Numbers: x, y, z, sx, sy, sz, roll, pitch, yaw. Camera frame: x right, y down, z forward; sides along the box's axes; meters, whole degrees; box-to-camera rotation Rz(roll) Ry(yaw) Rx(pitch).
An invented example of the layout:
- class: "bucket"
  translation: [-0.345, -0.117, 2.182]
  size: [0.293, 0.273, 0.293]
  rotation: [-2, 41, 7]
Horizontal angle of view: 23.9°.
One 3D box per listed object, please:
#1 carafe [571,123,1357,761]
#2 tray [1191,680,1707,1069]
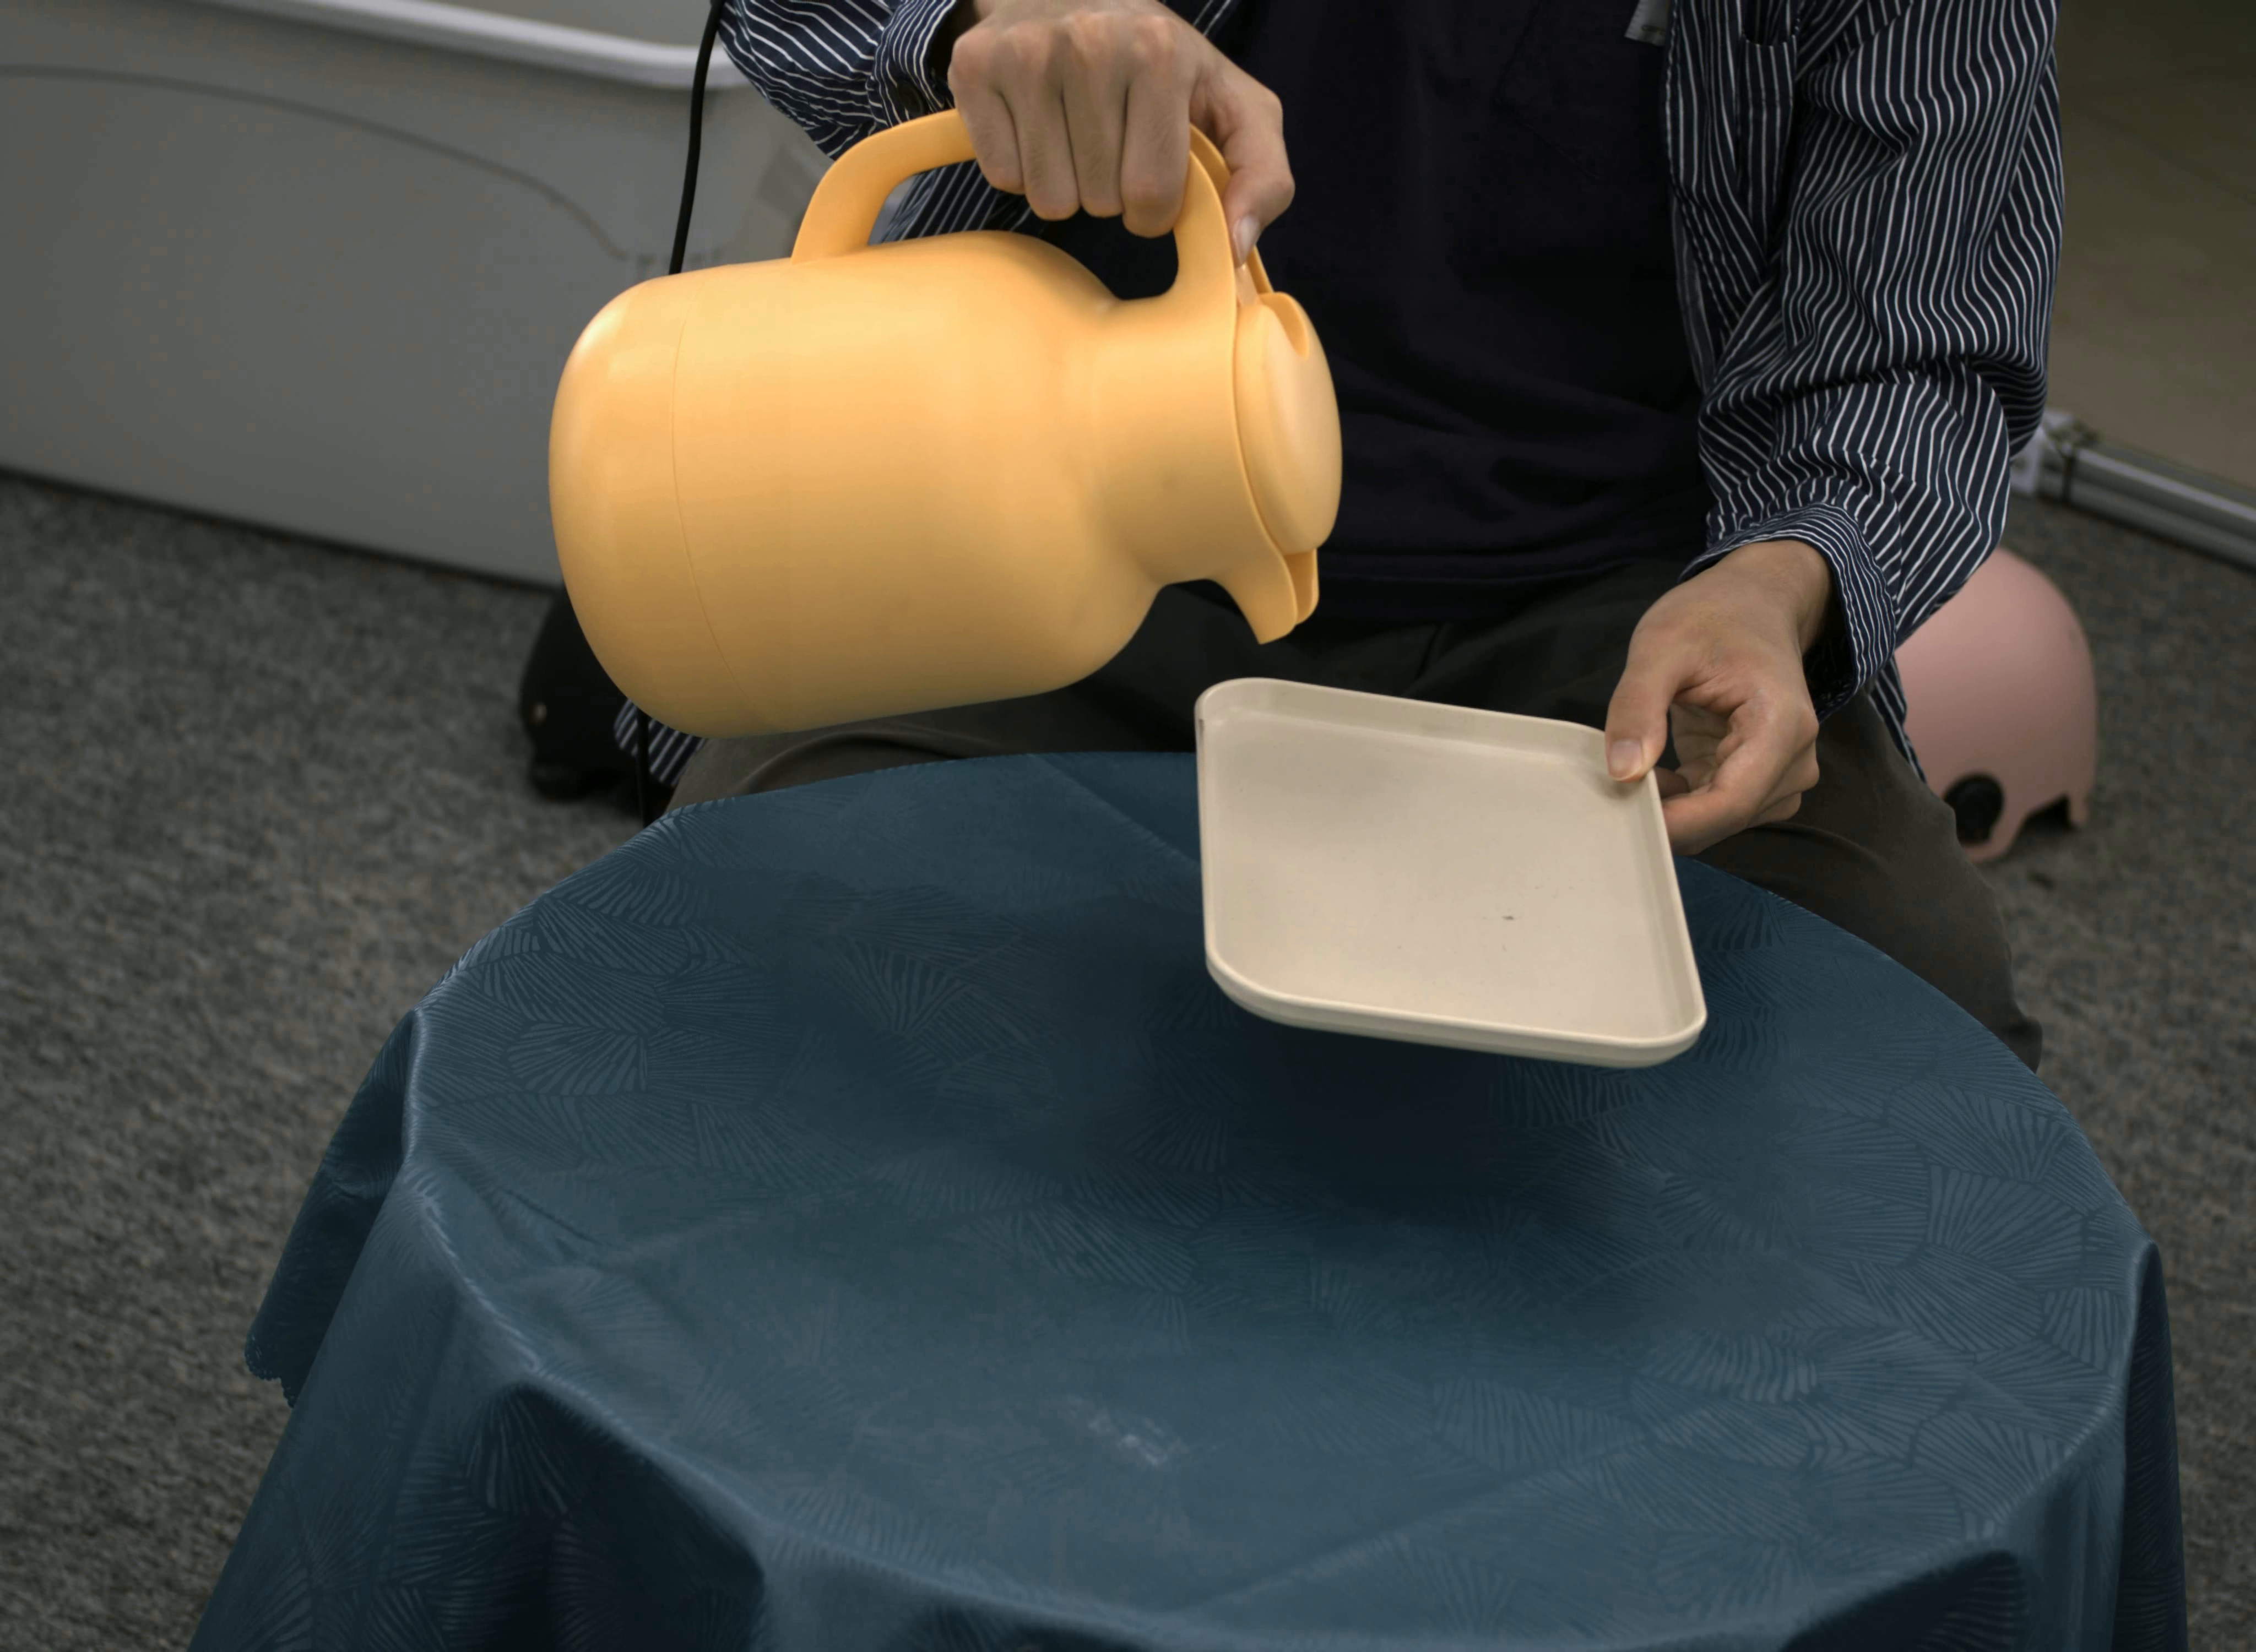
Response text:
- class: "carafe"
  translation: [-0.056, -0.133, 1.835]
  size: [0.260, 0.202, 0.163]
  rotation: [-7, 13, 18]
- class: "tray"
  translation: [0.107, 0.016, 1.846]
  size: [0.170, 0.017, 0.241]
  rotation: [8, 26, -5]
